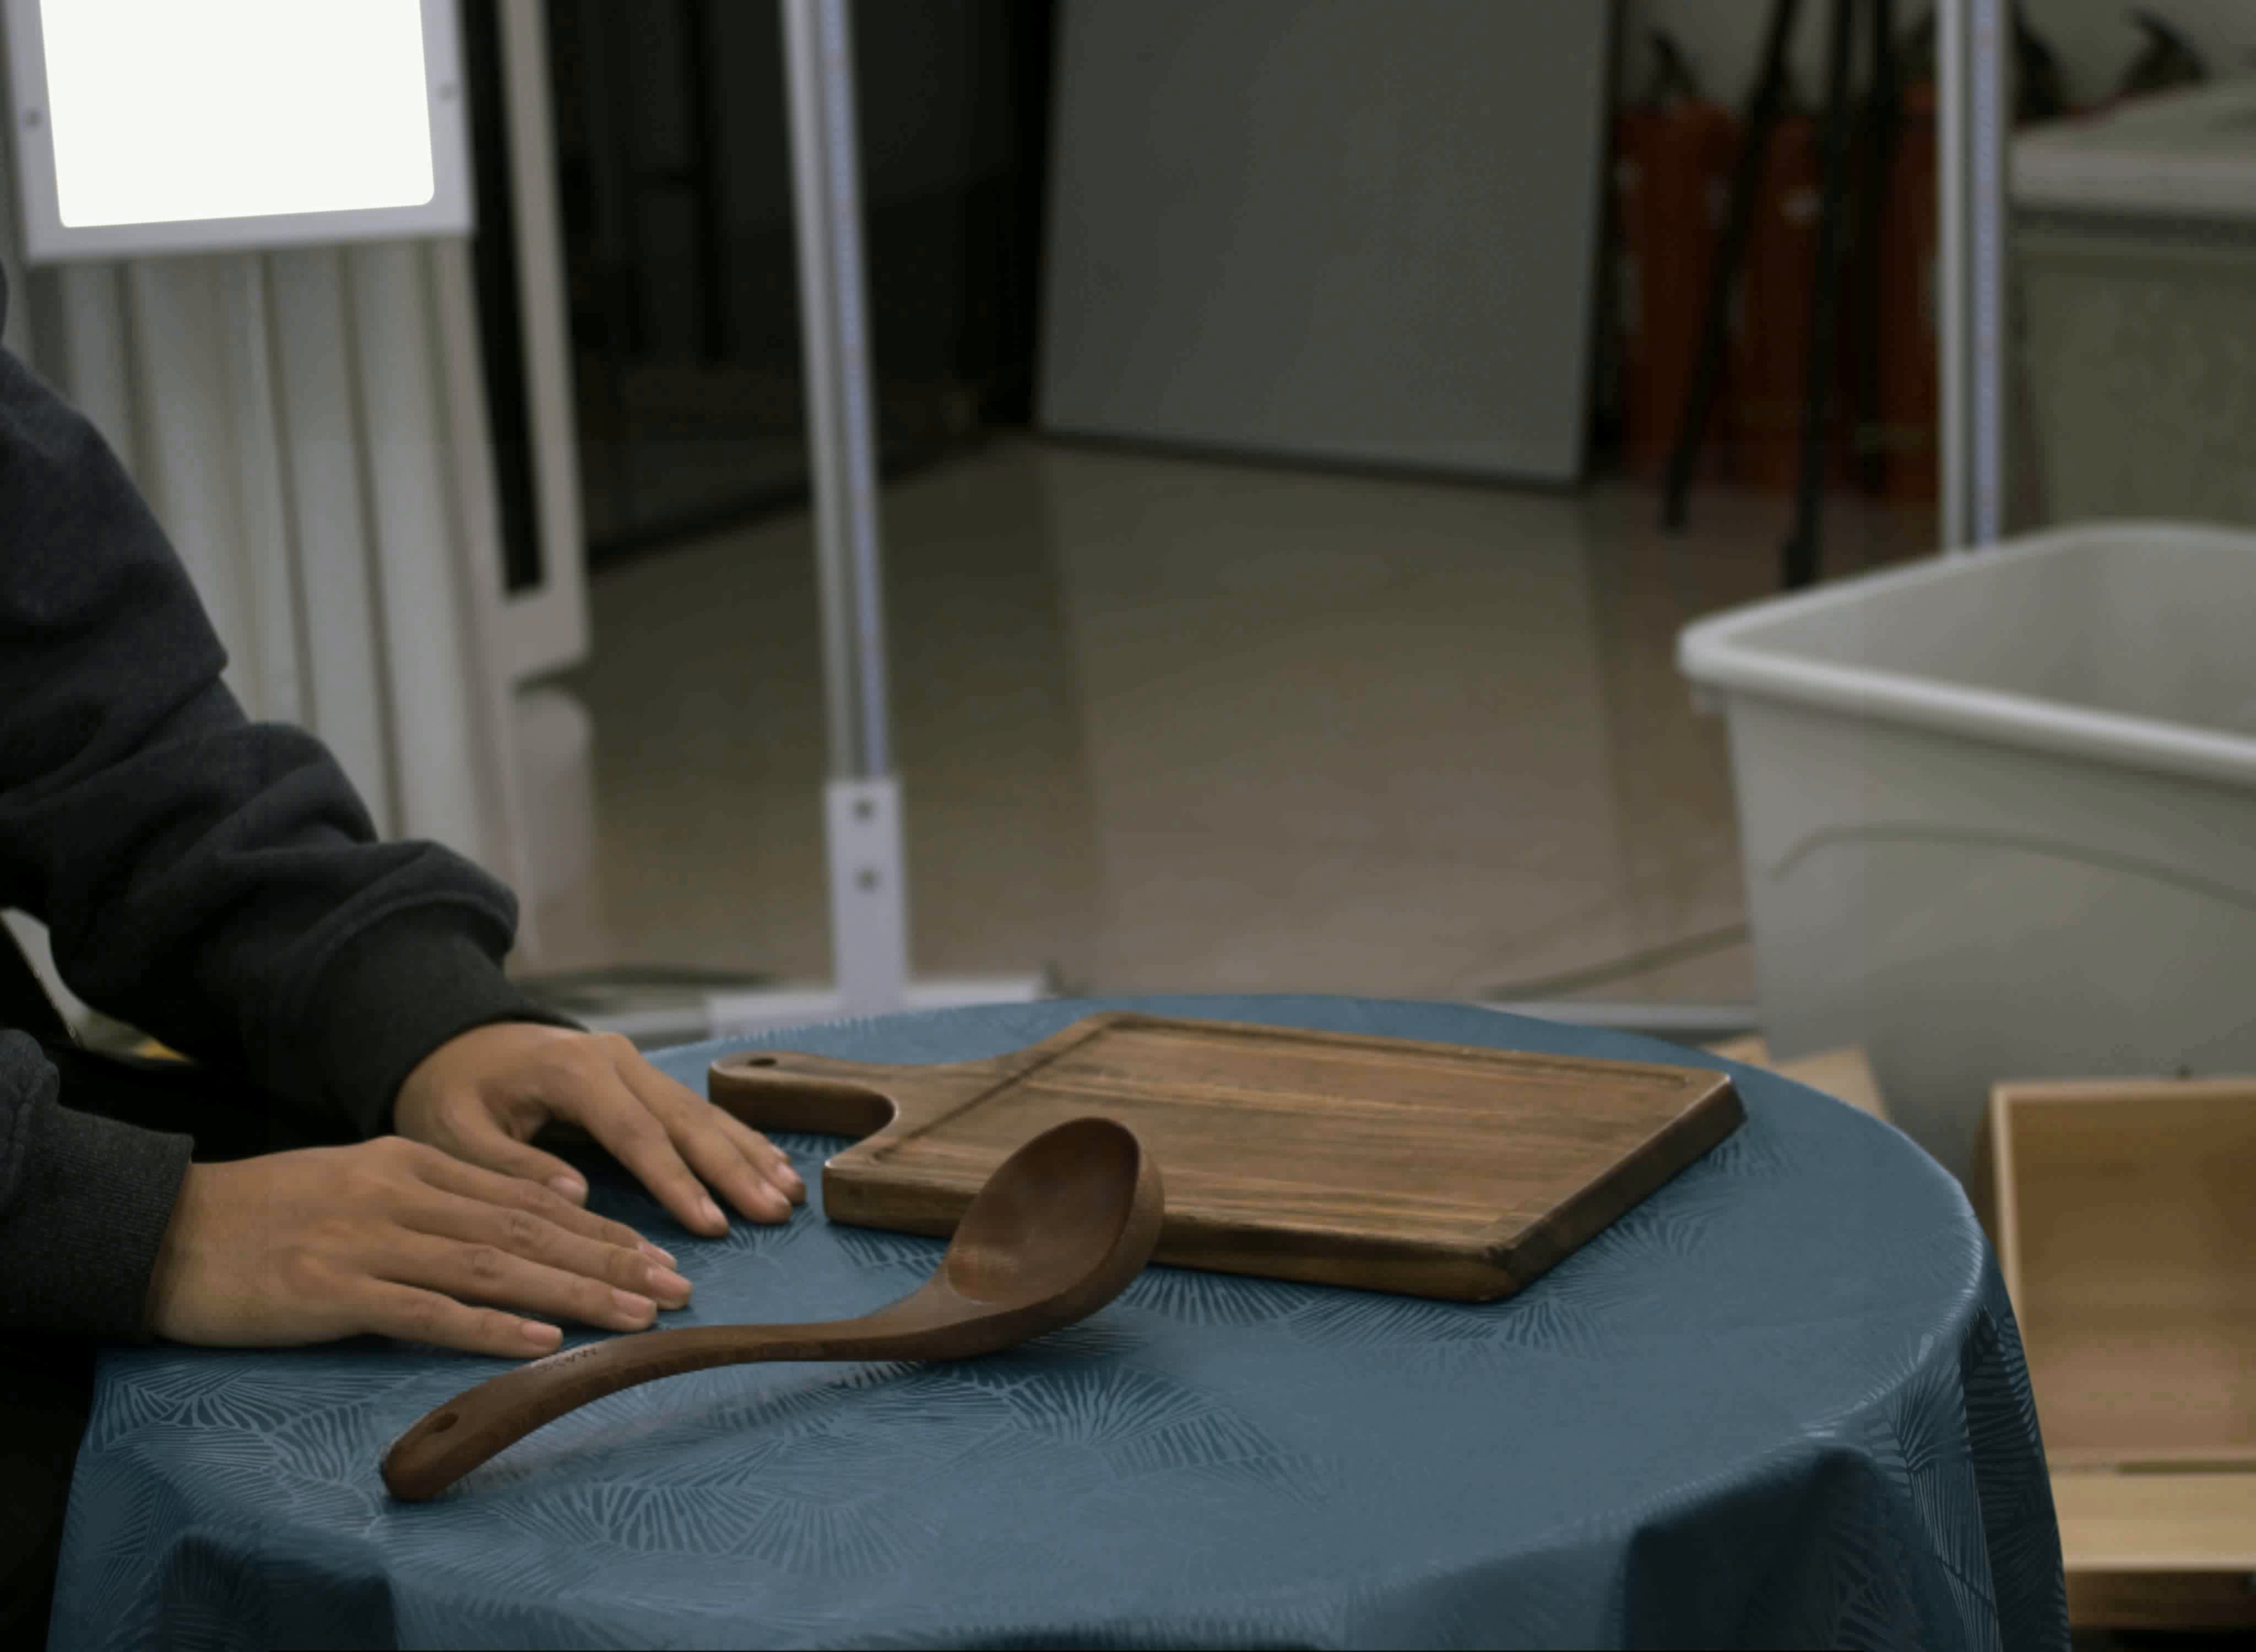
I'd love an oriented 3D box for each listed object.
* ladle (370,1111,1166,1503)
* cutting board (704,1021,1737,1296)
[{"bbox_3d":[-0.104,0.139,1.587,0.254,0.066,0.077,-11,11,-27],"label":"ladle"},{"bbox_3d":[0.009,0.102,1.795,0.353,0.023,0.198,4,14,30],"label":"cutting board"}]
